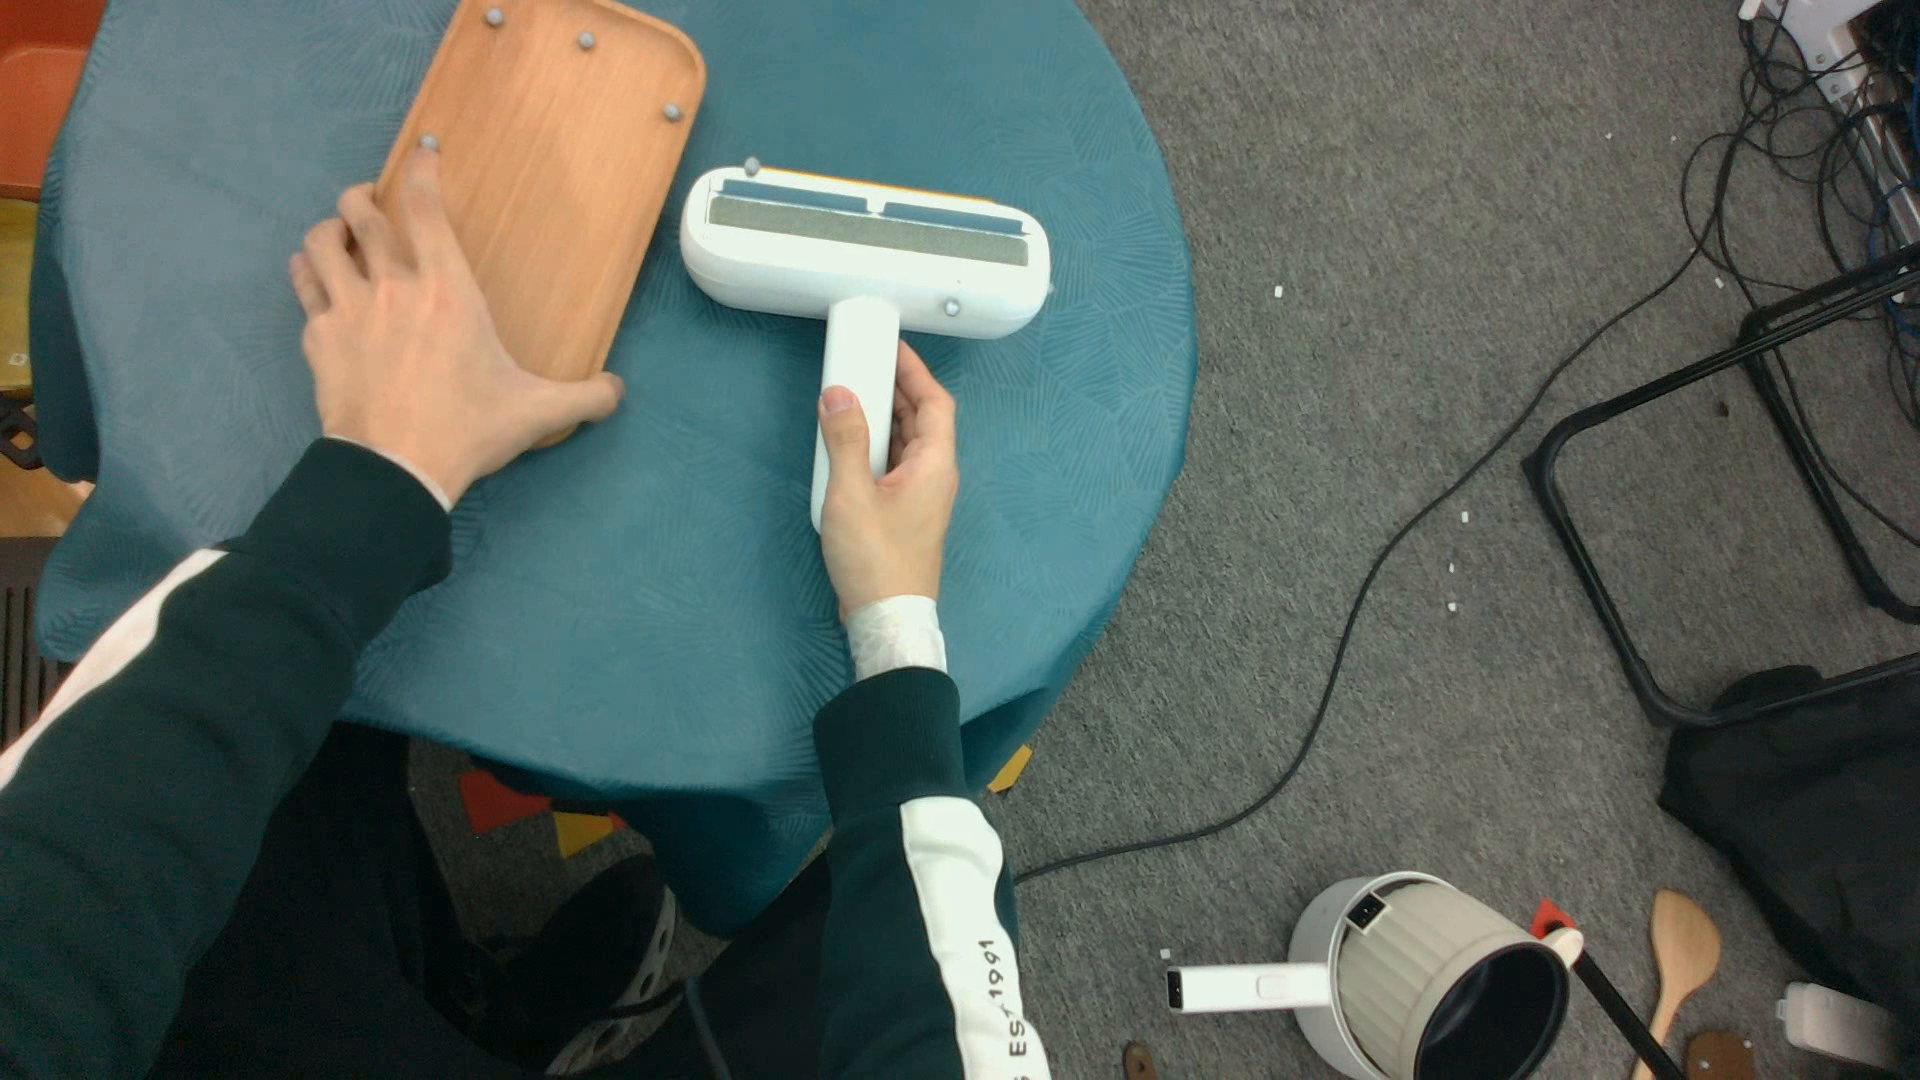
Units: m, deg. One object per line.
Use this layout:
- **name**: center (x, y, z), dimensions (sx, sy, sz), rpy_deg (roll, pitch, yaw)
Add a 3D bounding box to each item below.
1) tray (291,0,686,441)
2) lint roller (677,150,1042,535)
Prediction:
- **tray**: center (-0.229, -0.174, 0.690), dimensions (0.130, 0.023, 0.251), rpy_deg (19, 70, -12)
- **lint roller**: center (-0.063, -0.099, 0.730), dimensions (0.193, 0.074, 0.192), rpy_deg (11, 81, -10)
